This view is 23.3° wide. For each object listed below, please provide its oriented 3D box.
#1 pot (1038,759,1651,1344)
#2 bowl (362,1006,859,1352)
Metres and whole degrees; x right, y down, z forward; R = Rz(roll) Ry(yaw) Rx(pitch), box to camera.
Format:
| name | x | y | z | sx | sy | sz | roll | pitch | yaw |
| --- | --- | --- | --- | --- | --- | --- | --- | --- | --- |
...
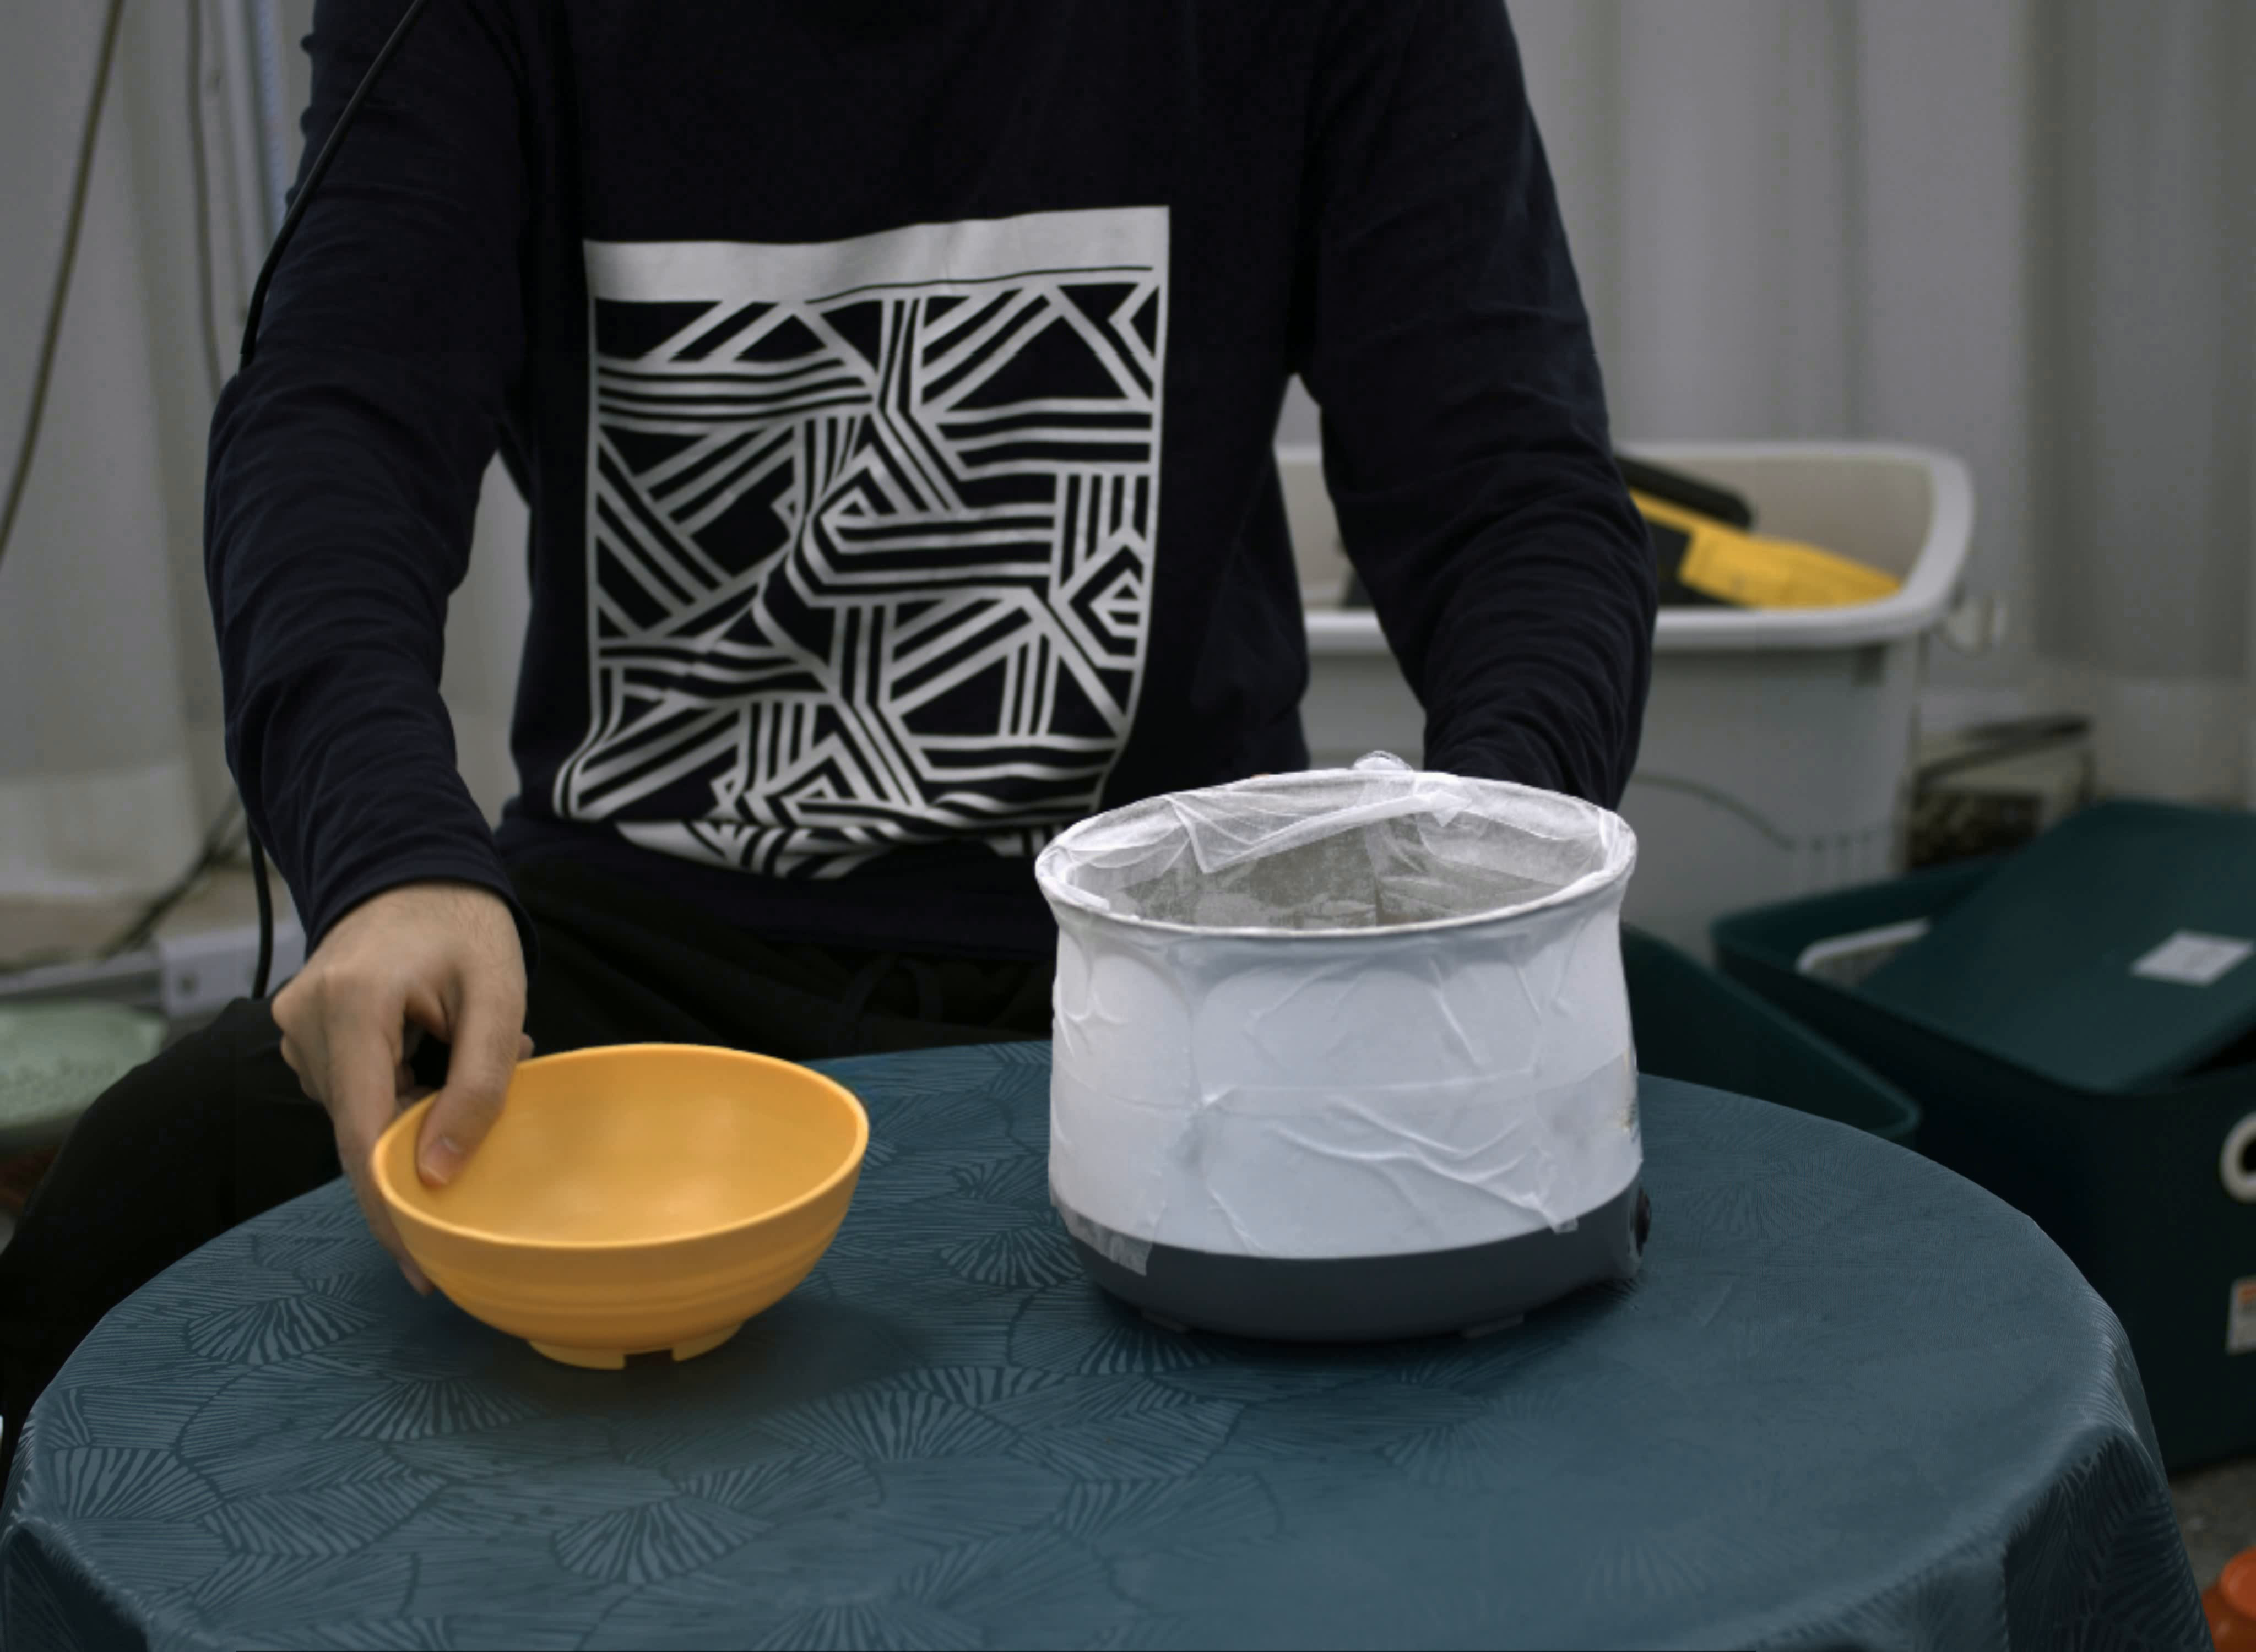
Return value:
| name | x | y | z | sx | sy | sz | roll | pitch | yaw |
| --- | --- | --- | --- | --- | --- | --- | --- | --- | --- |
| pot | 0.069 | 0.063 | 1.644 | 0.178 | 0.136 | 0.235 | 0 | 13 | 10 |
| bowl | -0.150 | 0.112 | 1.602 | 0.145 | 0.059 | 0.147 | -1 | 25 | 0 |
